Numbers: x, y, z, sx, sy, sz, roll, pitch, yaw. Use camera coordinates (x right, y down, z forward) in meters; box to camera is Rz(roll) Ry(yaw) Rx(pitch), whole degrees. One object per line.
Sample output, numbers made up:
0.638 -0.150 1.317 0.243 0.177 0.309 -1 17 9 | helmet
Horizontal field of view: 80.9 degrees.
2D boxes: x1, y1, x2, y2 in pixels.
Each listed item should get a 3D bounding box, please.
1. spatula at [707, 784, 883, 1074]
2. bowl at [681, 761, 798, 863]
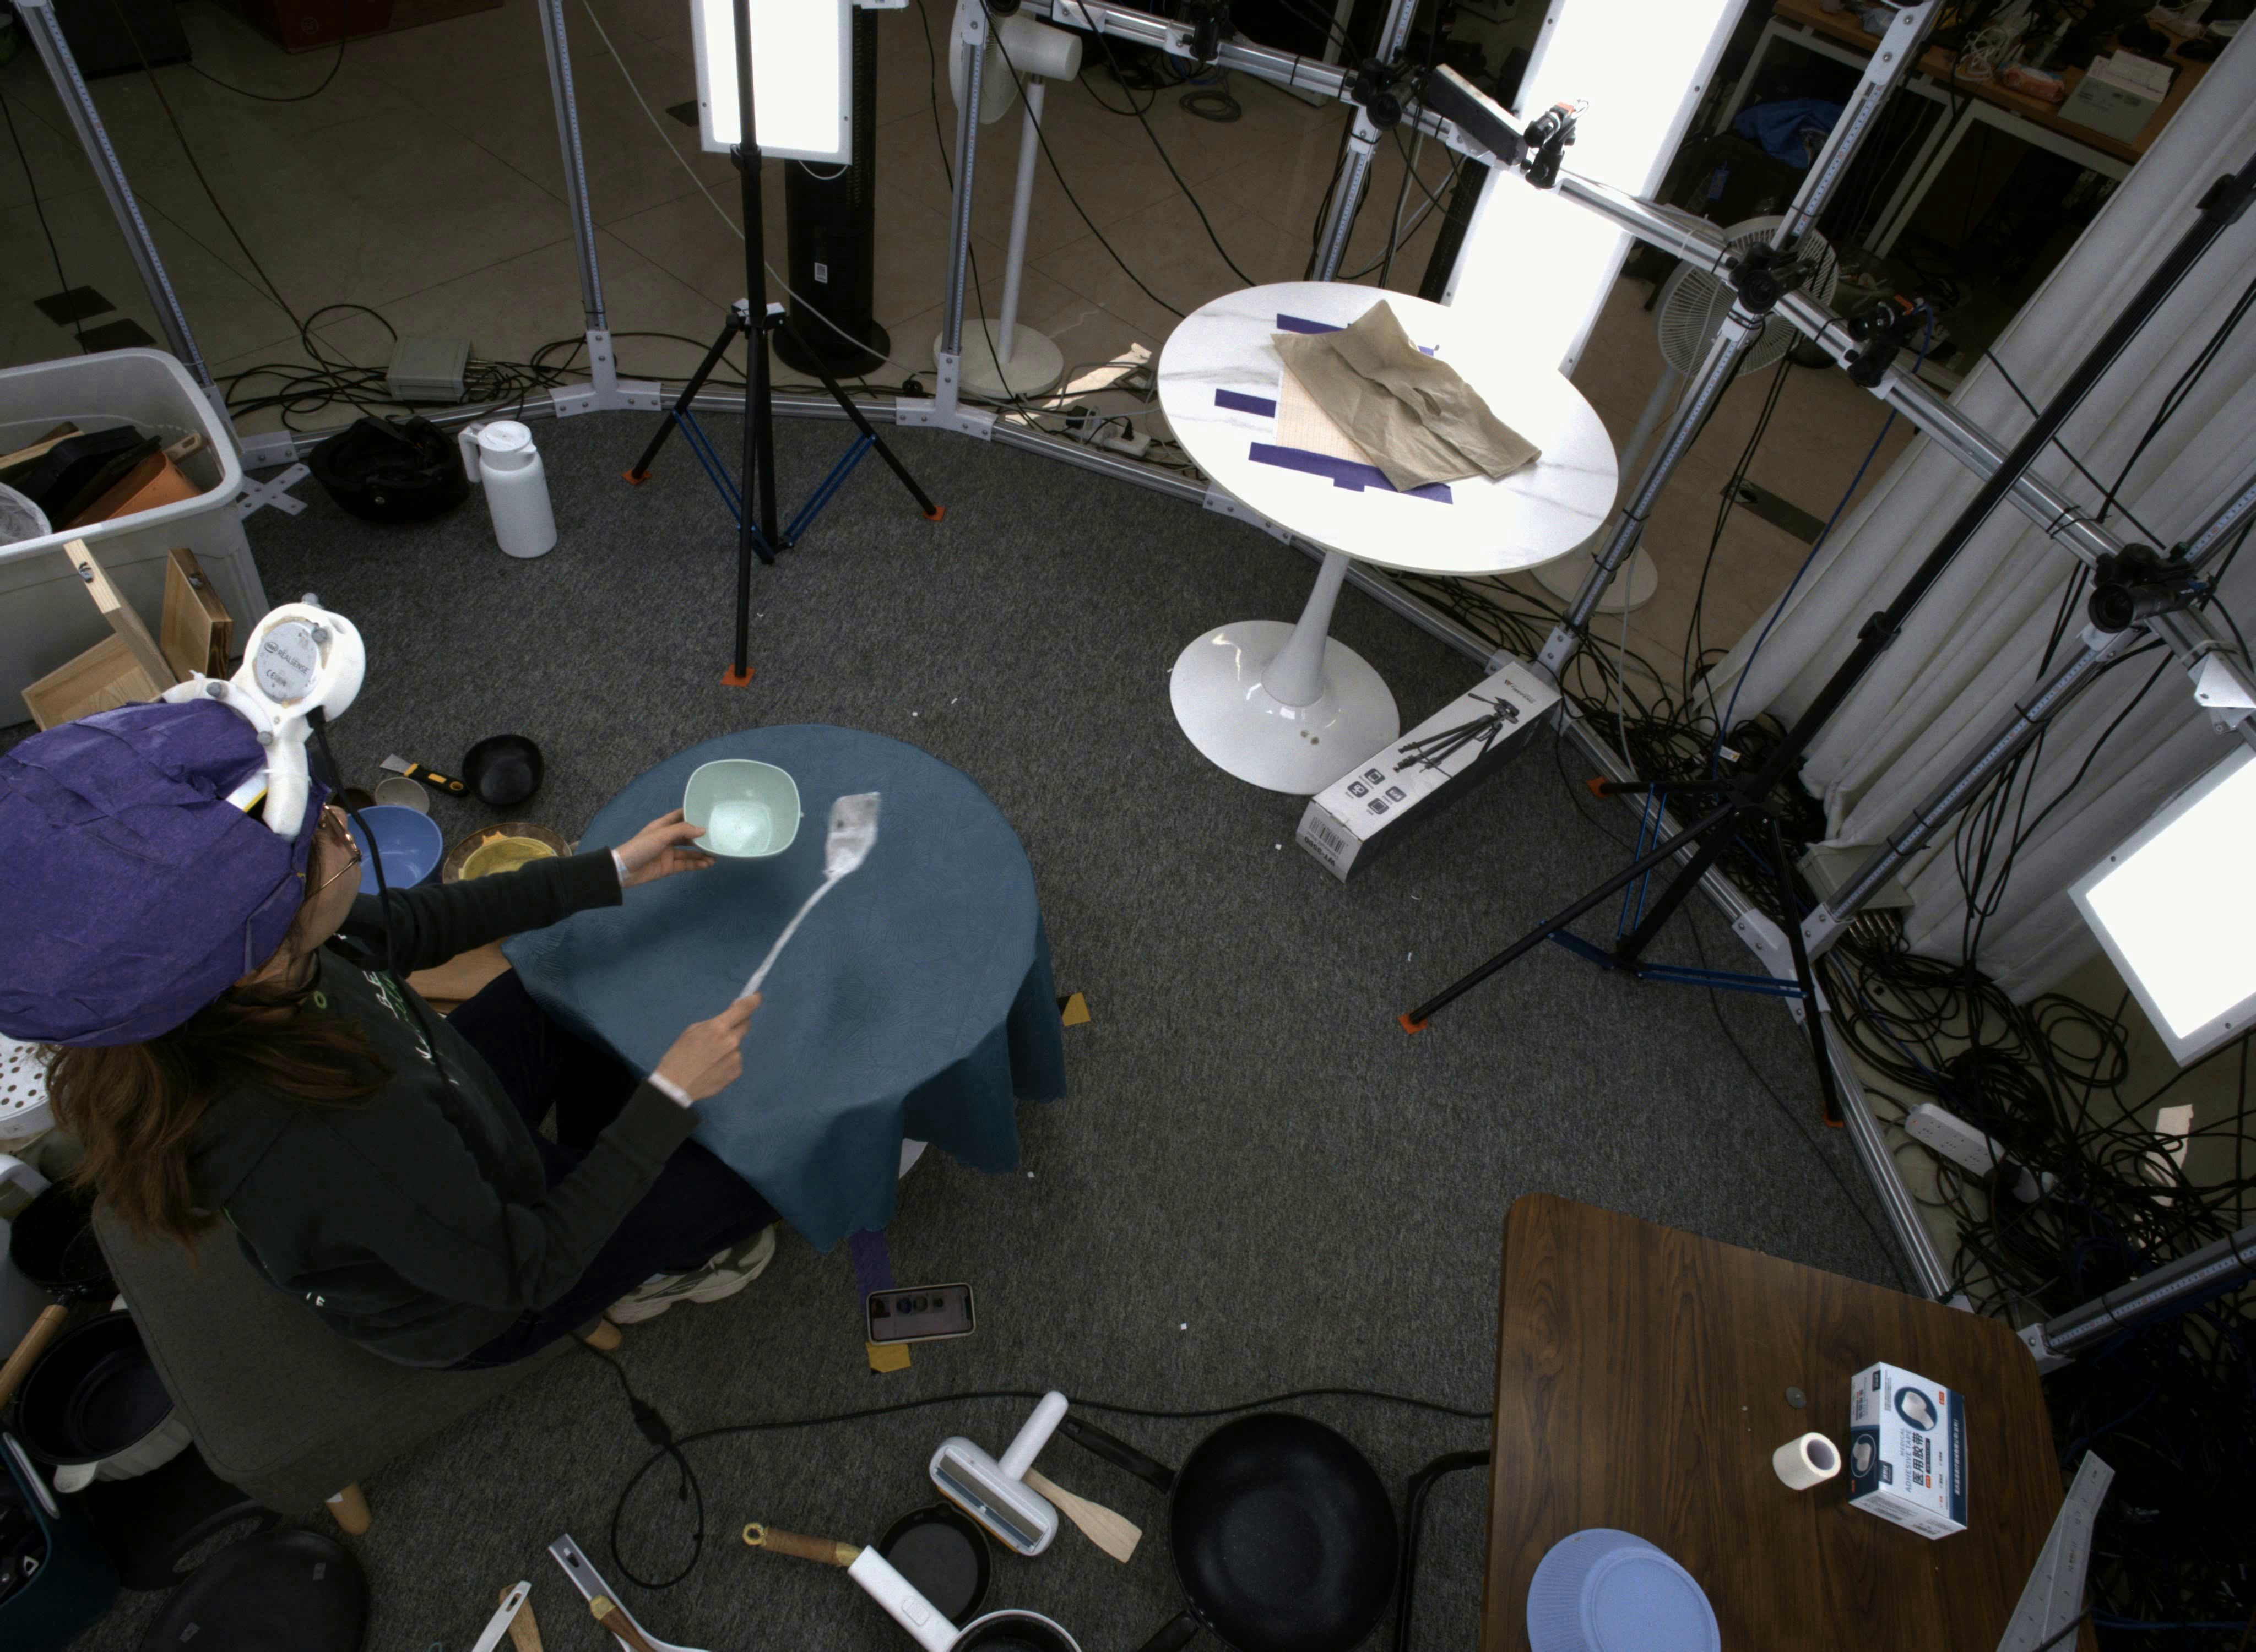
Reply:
-0.374 0.106 1.437 0.095 0.046 0.363 1 52 44 | spatula
-0.479 -0.008 1.595 0.152 0.059 0.149 11 55 -14 | bowl
